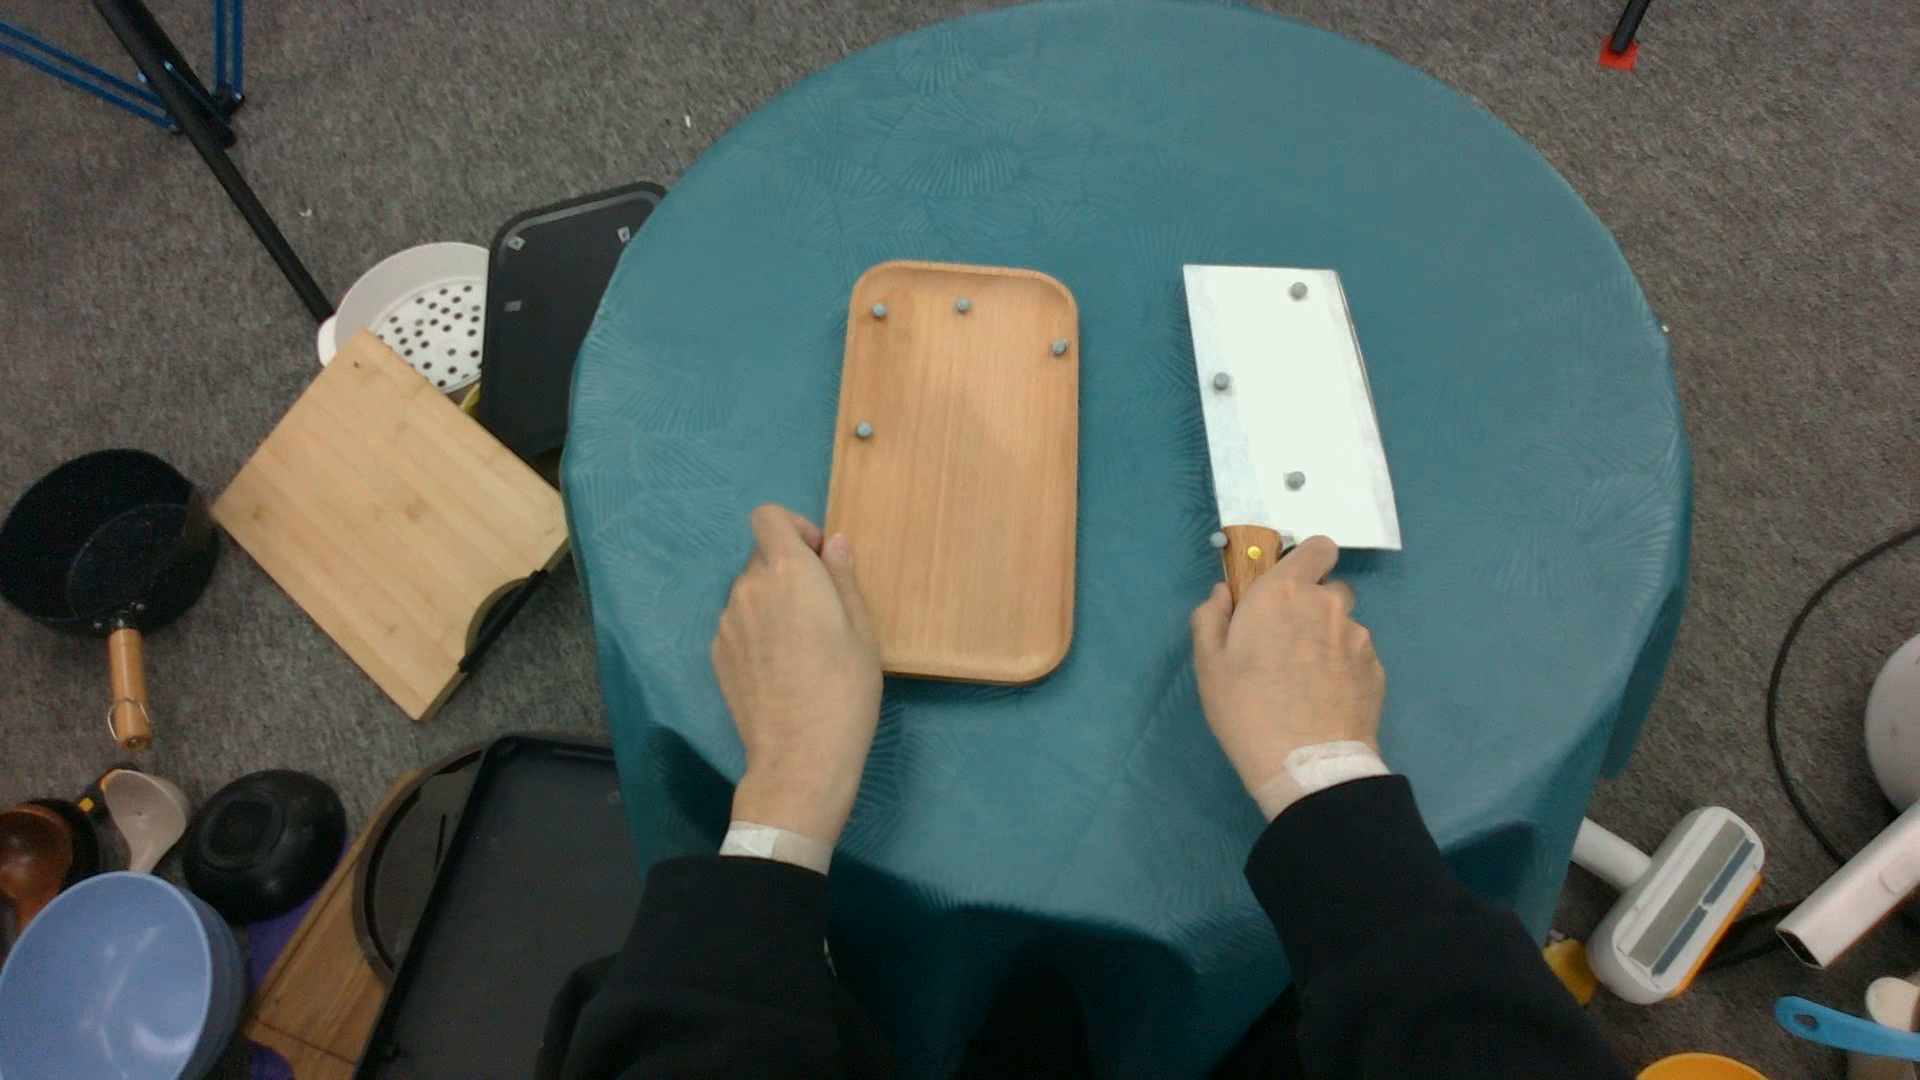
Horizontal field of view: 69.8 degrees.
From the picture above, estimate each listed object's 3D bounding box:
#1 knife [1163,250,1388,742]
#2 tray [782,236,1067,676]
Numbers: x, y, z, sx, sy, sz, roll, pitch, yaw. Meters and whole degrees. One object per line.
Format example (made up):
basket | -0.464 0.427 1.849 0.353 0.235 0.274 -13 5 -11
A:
knife | 0.163 -0.039 0.692 0.093 0.021 0.307 -1 55 -3
tray | -0.013 -0.050 0.712 0.130 0.023 0.251 7 63 -2
